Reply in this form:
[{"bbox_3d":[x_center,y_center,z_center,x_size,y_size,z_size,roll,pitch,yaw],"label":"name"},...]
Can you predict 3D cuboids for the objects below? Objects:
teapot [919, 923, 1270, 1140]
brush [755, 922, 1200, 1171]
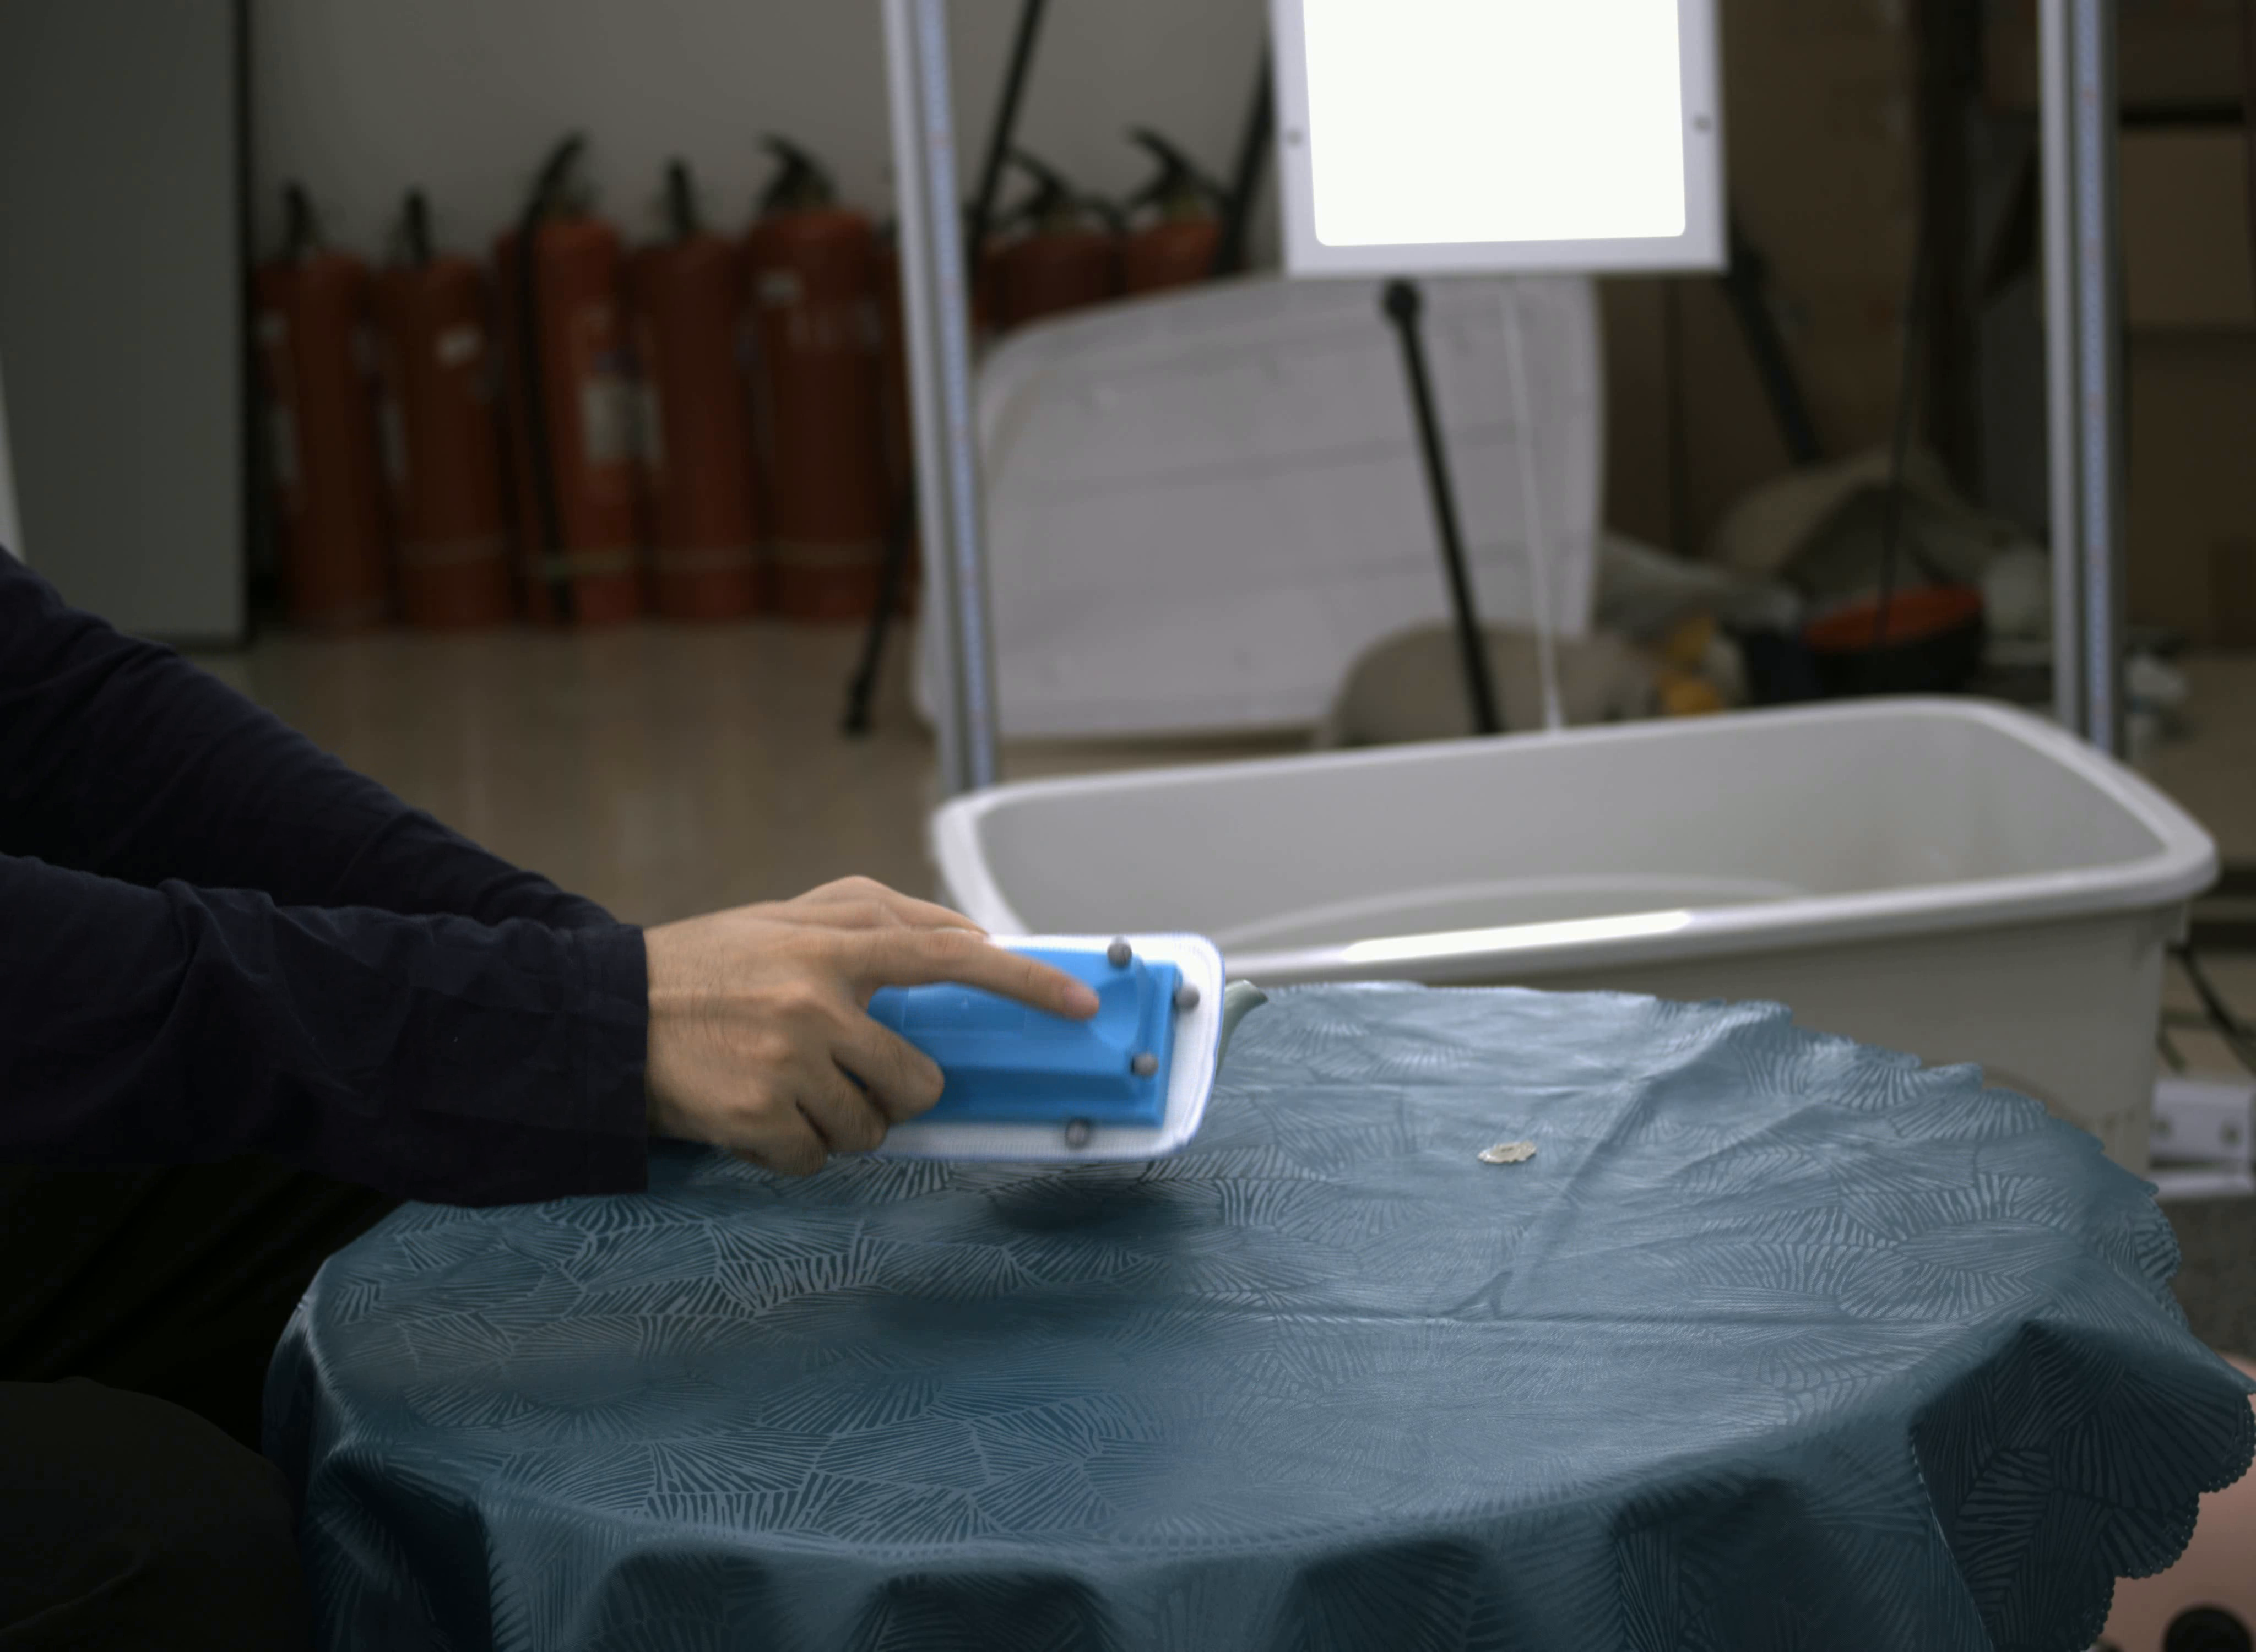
[{"bbox_3d":[-0.022,0.073,1.909,0.139,0.061,0.095,12,-14,21],"label":"teapot"},{"bbox_3d":[-0.052,0.067,1.792,0.145,0.083,0.055,4,-28,17],"label":"brush"}]
